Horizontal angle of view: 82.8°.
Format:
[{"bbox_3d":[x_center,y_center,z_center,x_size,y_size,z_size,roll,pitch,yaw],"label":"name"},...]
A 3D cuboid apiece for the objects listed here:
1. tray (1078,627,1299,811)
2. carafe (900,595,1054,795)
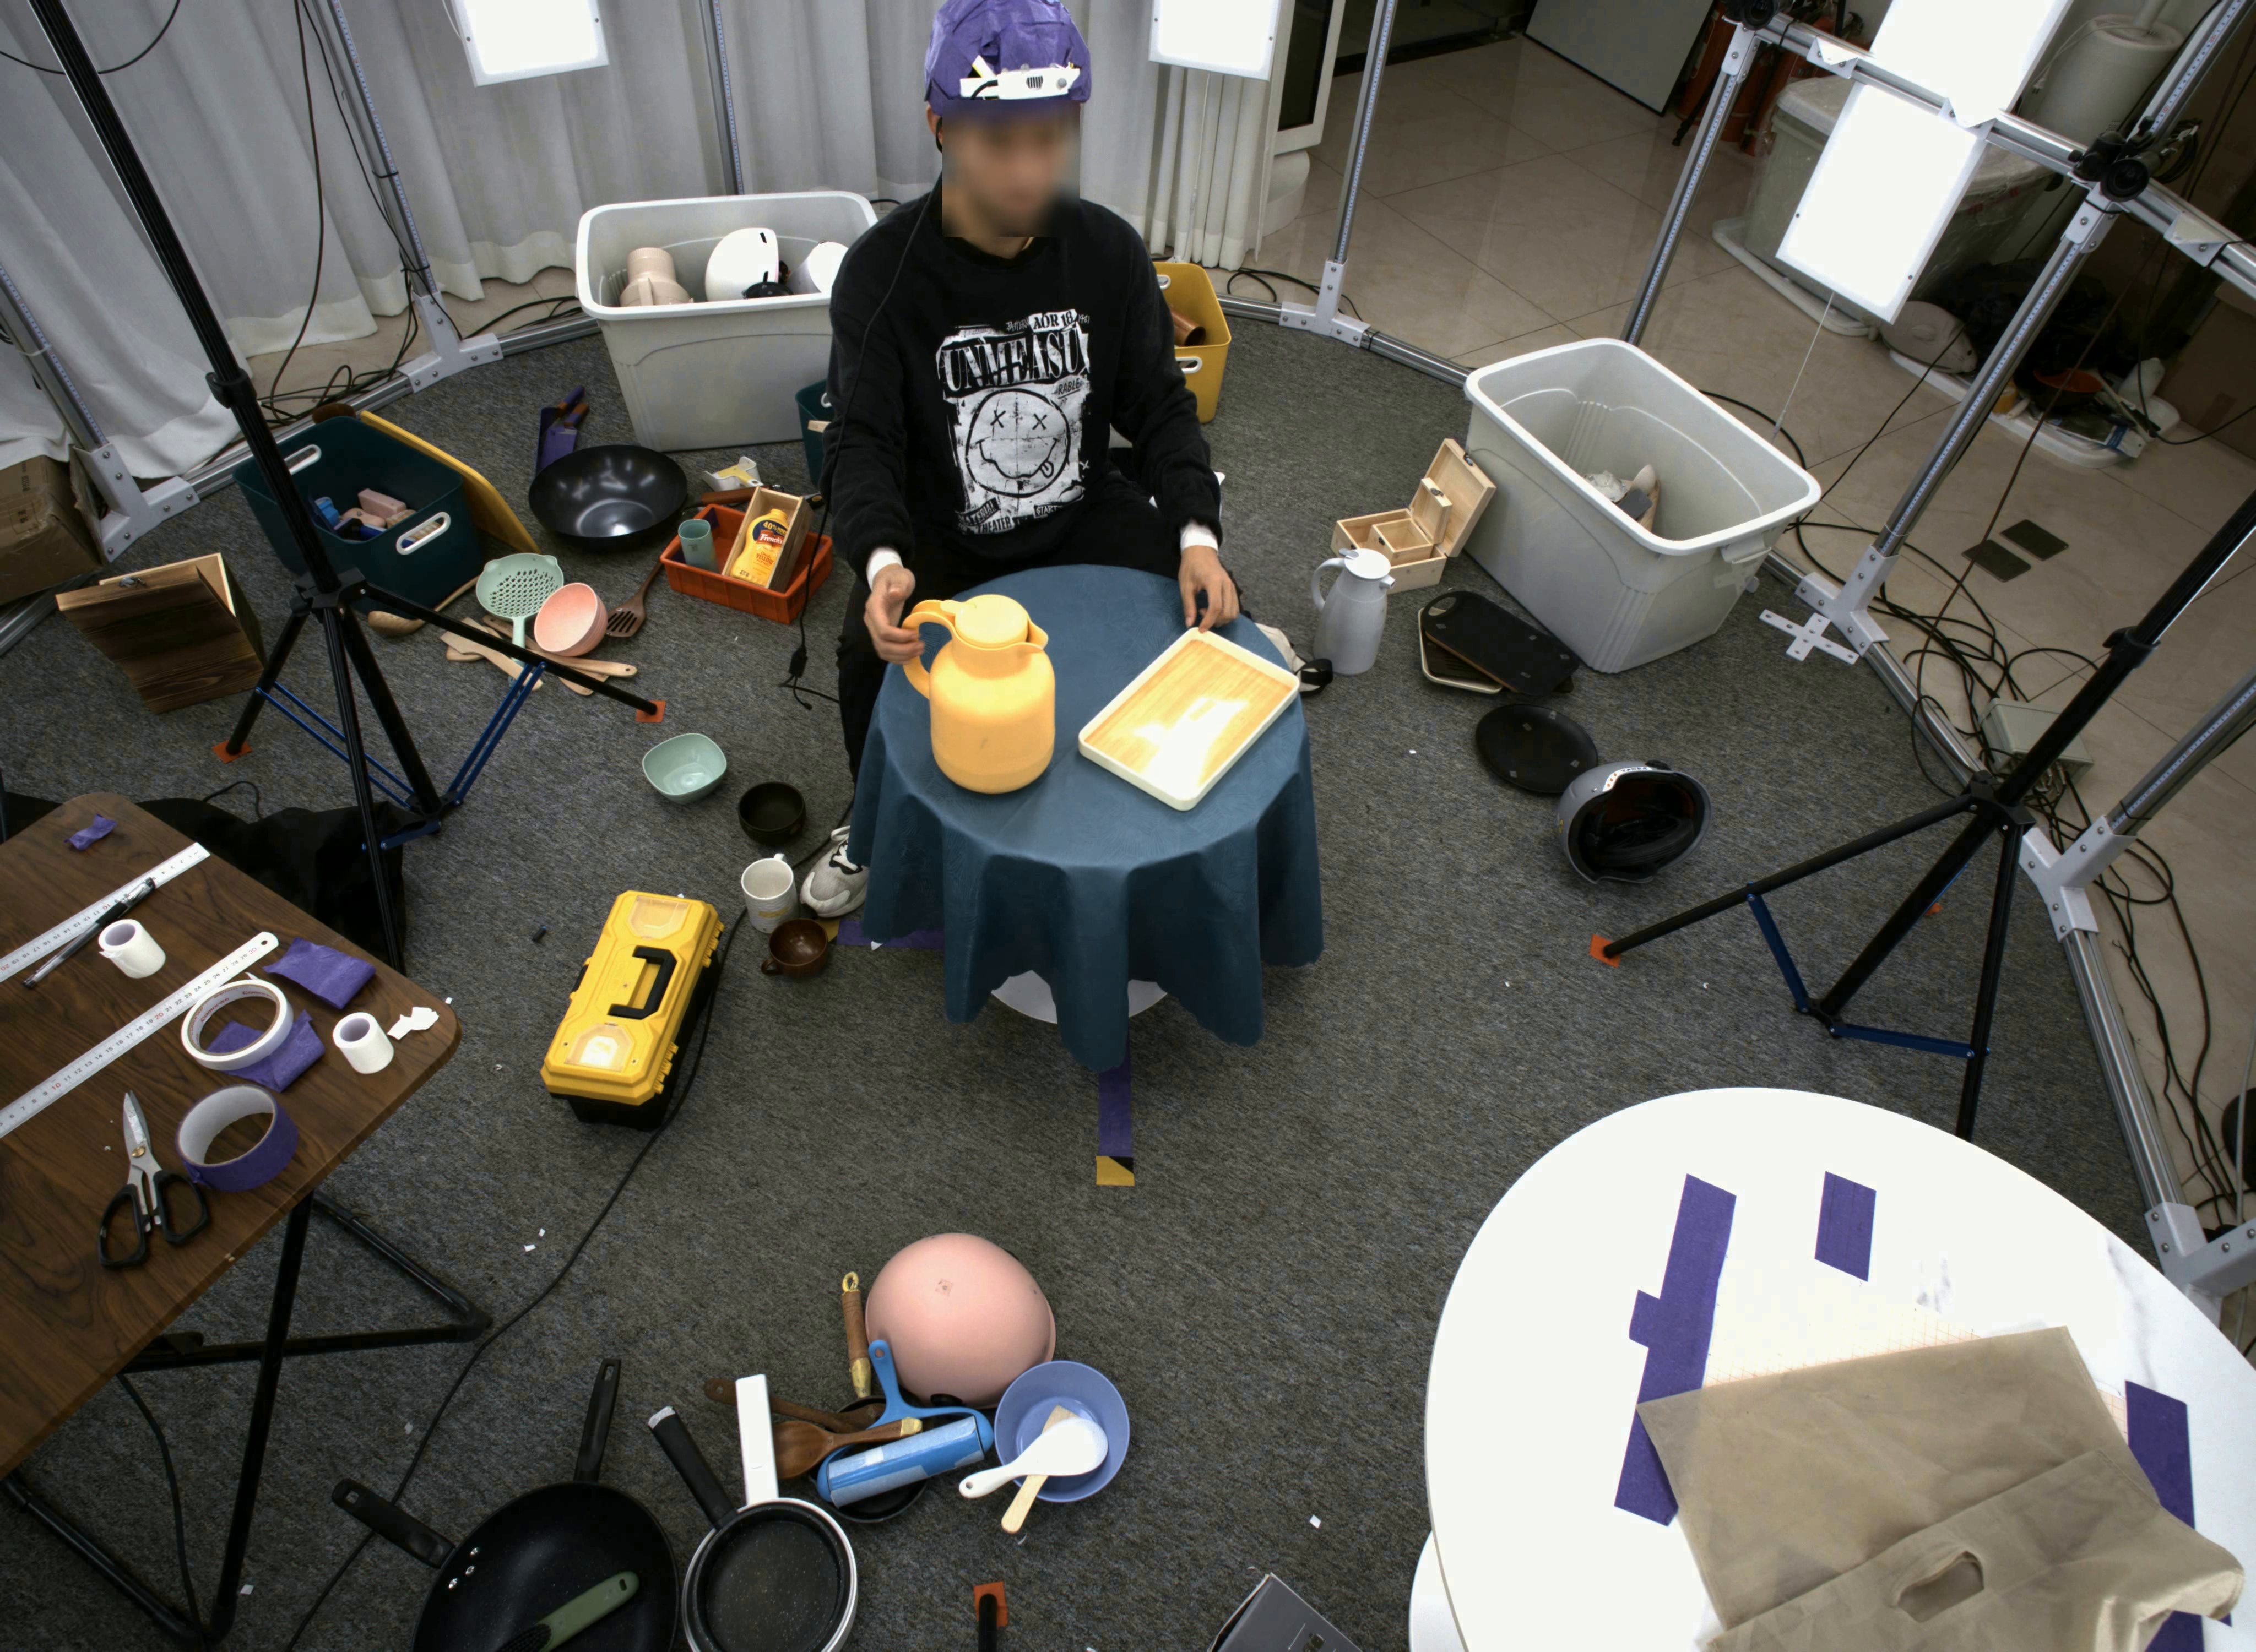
[{"bbox_3d":[0.088,-0.157,1.793,0.193,0.027,0.304,30,54,21],"label":"tray"},{"bbox_3d":[-0.192,-0.179,1.646,0.203,0.254,0.166,20,49,12],"label":"carafe"}]
